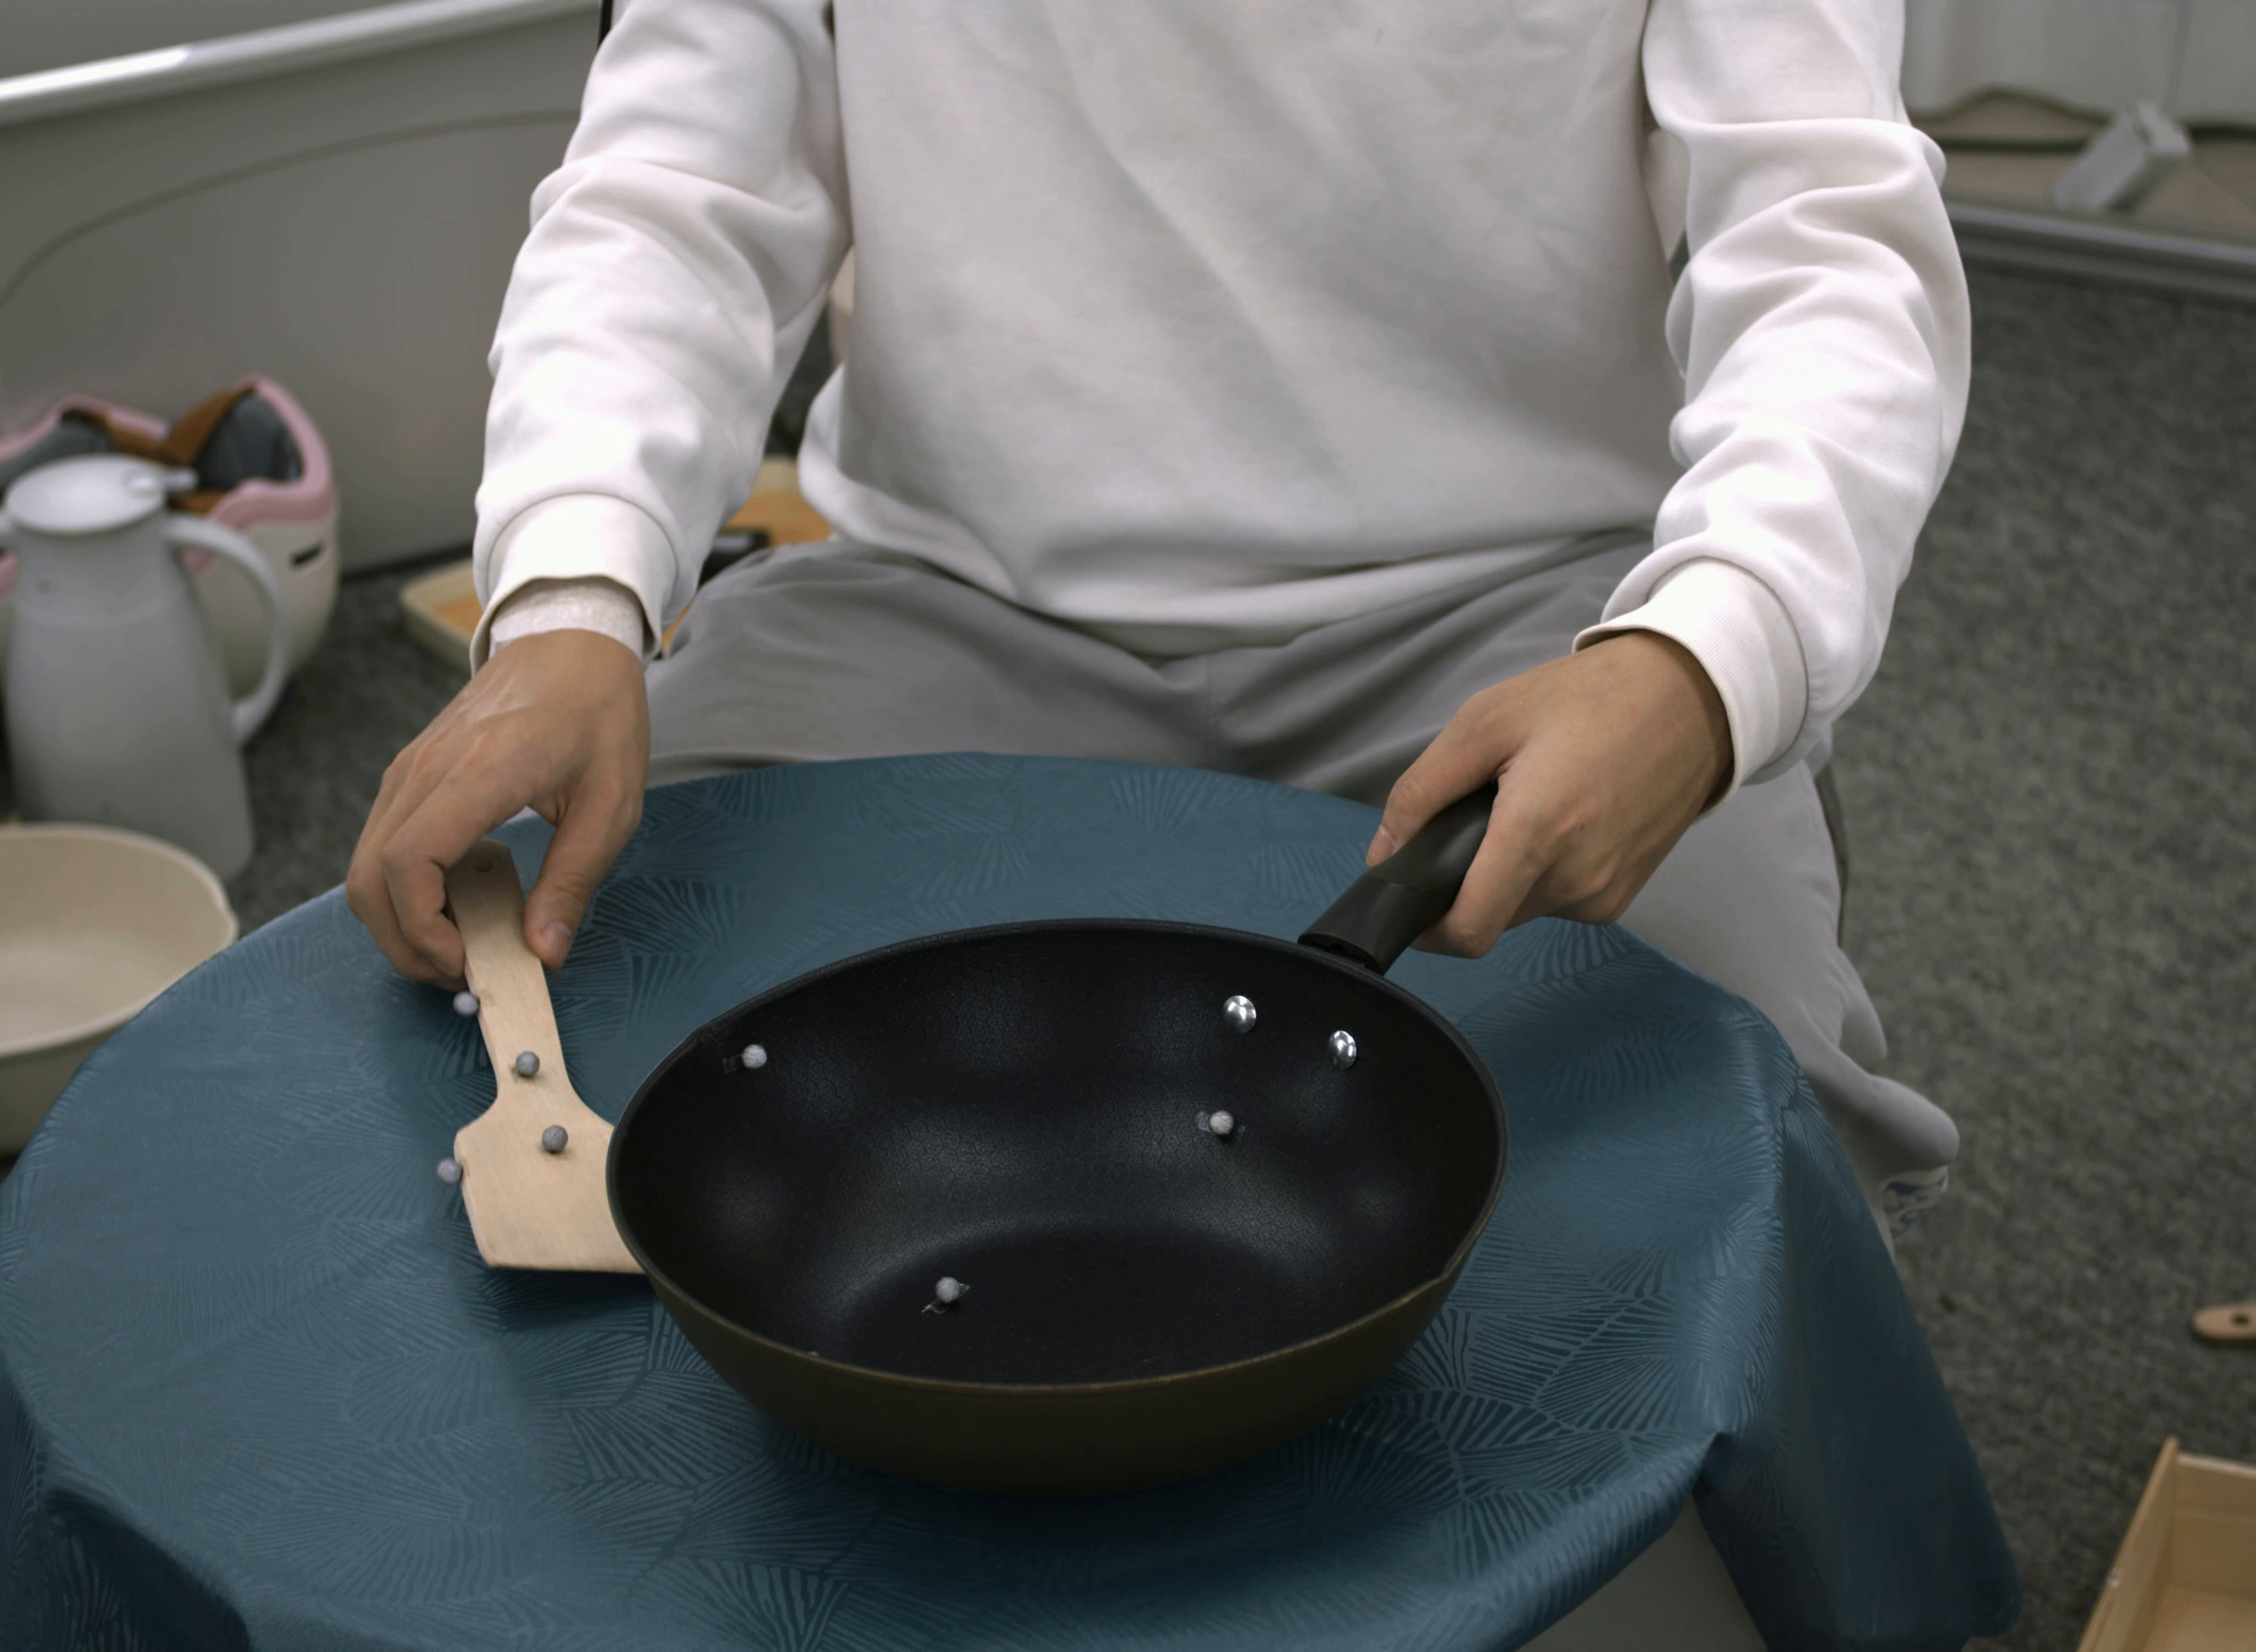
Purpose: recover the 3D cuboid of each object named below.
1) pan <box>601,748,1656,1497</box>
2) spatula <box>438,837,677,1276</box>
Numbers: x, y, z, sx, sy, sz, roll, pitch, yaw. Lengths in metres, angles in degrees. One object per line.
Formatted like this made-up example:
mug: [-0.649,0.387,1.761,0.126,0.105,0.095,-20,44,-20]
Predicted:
pan: [0.033,0.094,1.823,0.287,0.086,0.470,17,32,32]
spatula: [-0.208,0.077,1.938,0.072,0.010,0.296,2,28,-17]
